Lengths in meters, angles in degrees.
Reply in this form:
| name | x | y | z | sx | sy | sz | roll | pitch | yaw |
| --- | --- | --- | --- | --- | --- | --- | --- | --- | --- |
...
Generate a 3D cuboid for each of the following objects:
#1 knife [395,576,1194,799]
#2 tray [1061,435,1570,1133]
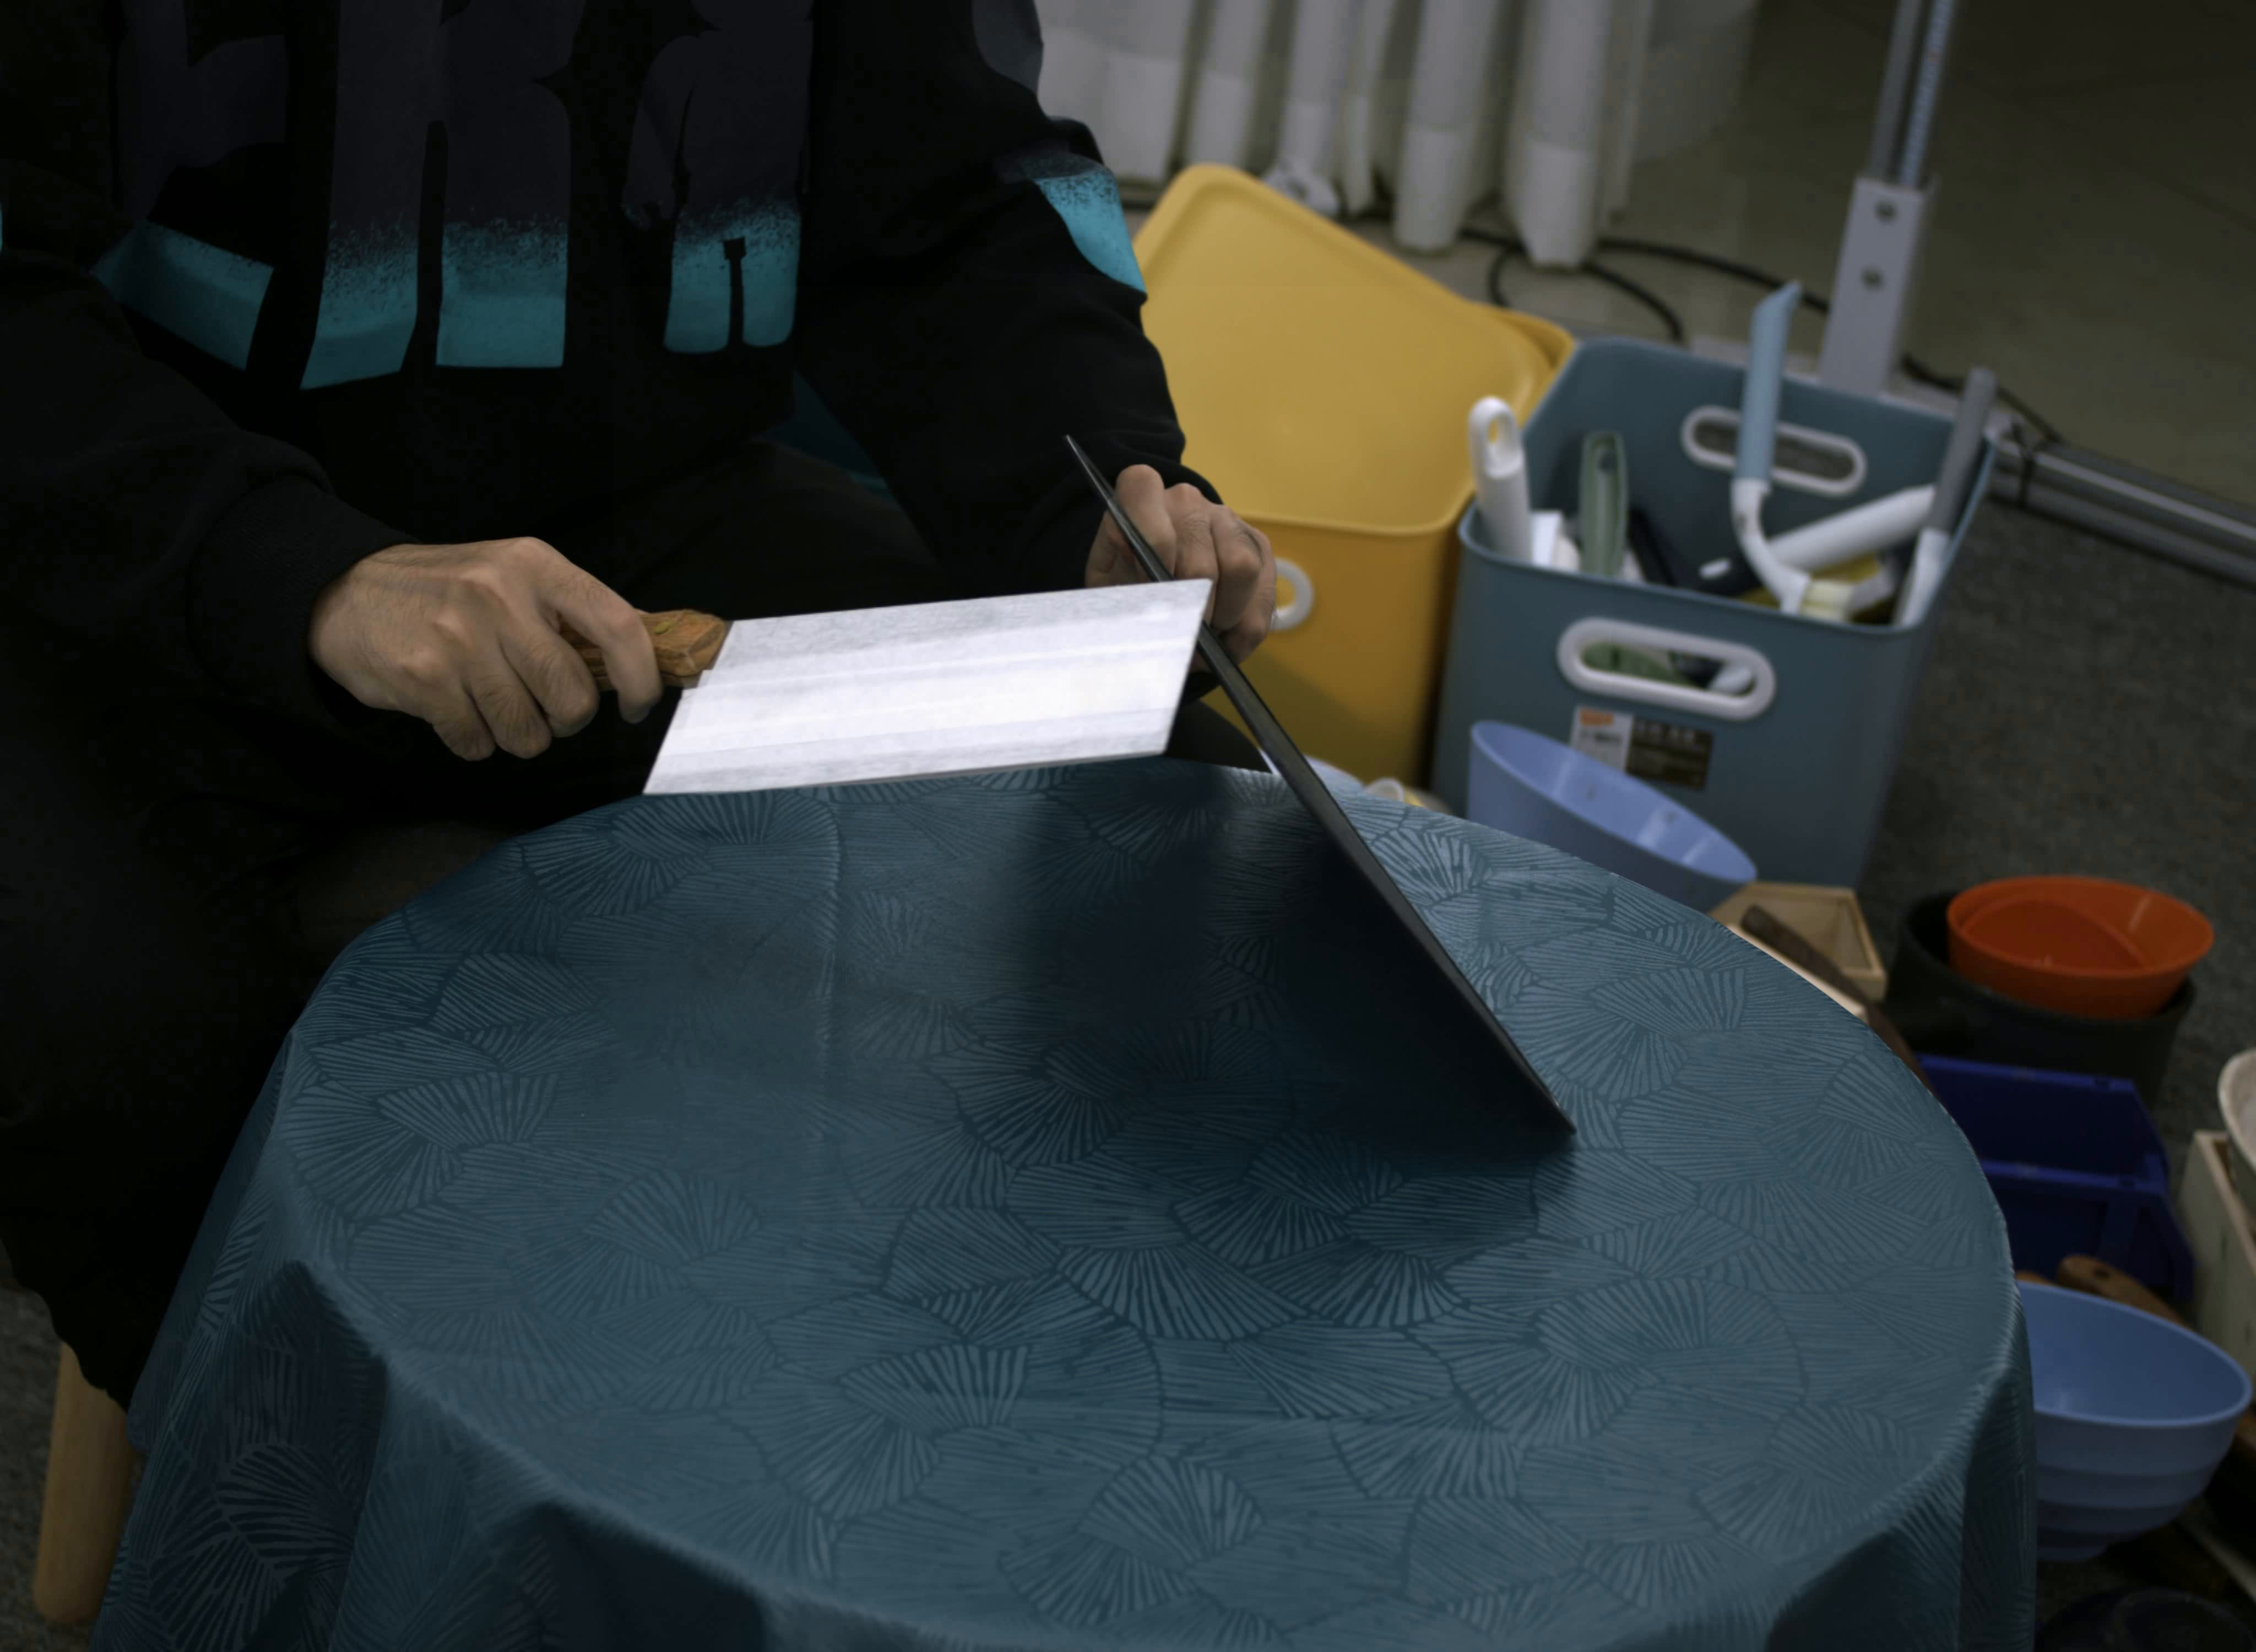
| name | x | y | z | sx | sy | sz | roll | pitch | yaw |
| --- | --- | --- | --- | --- | --- | --- | --- | --- | --- |
| knife | -0.124 | -0.045 | 1.844 | 0.306 | 0.021 | 0.093 | -4 | 42 | 21 |
| tray | 0.063 | -0.024 | 1.922 | 0.010 | 0.209 | 0.328 | -37 | 33 | 4 |
